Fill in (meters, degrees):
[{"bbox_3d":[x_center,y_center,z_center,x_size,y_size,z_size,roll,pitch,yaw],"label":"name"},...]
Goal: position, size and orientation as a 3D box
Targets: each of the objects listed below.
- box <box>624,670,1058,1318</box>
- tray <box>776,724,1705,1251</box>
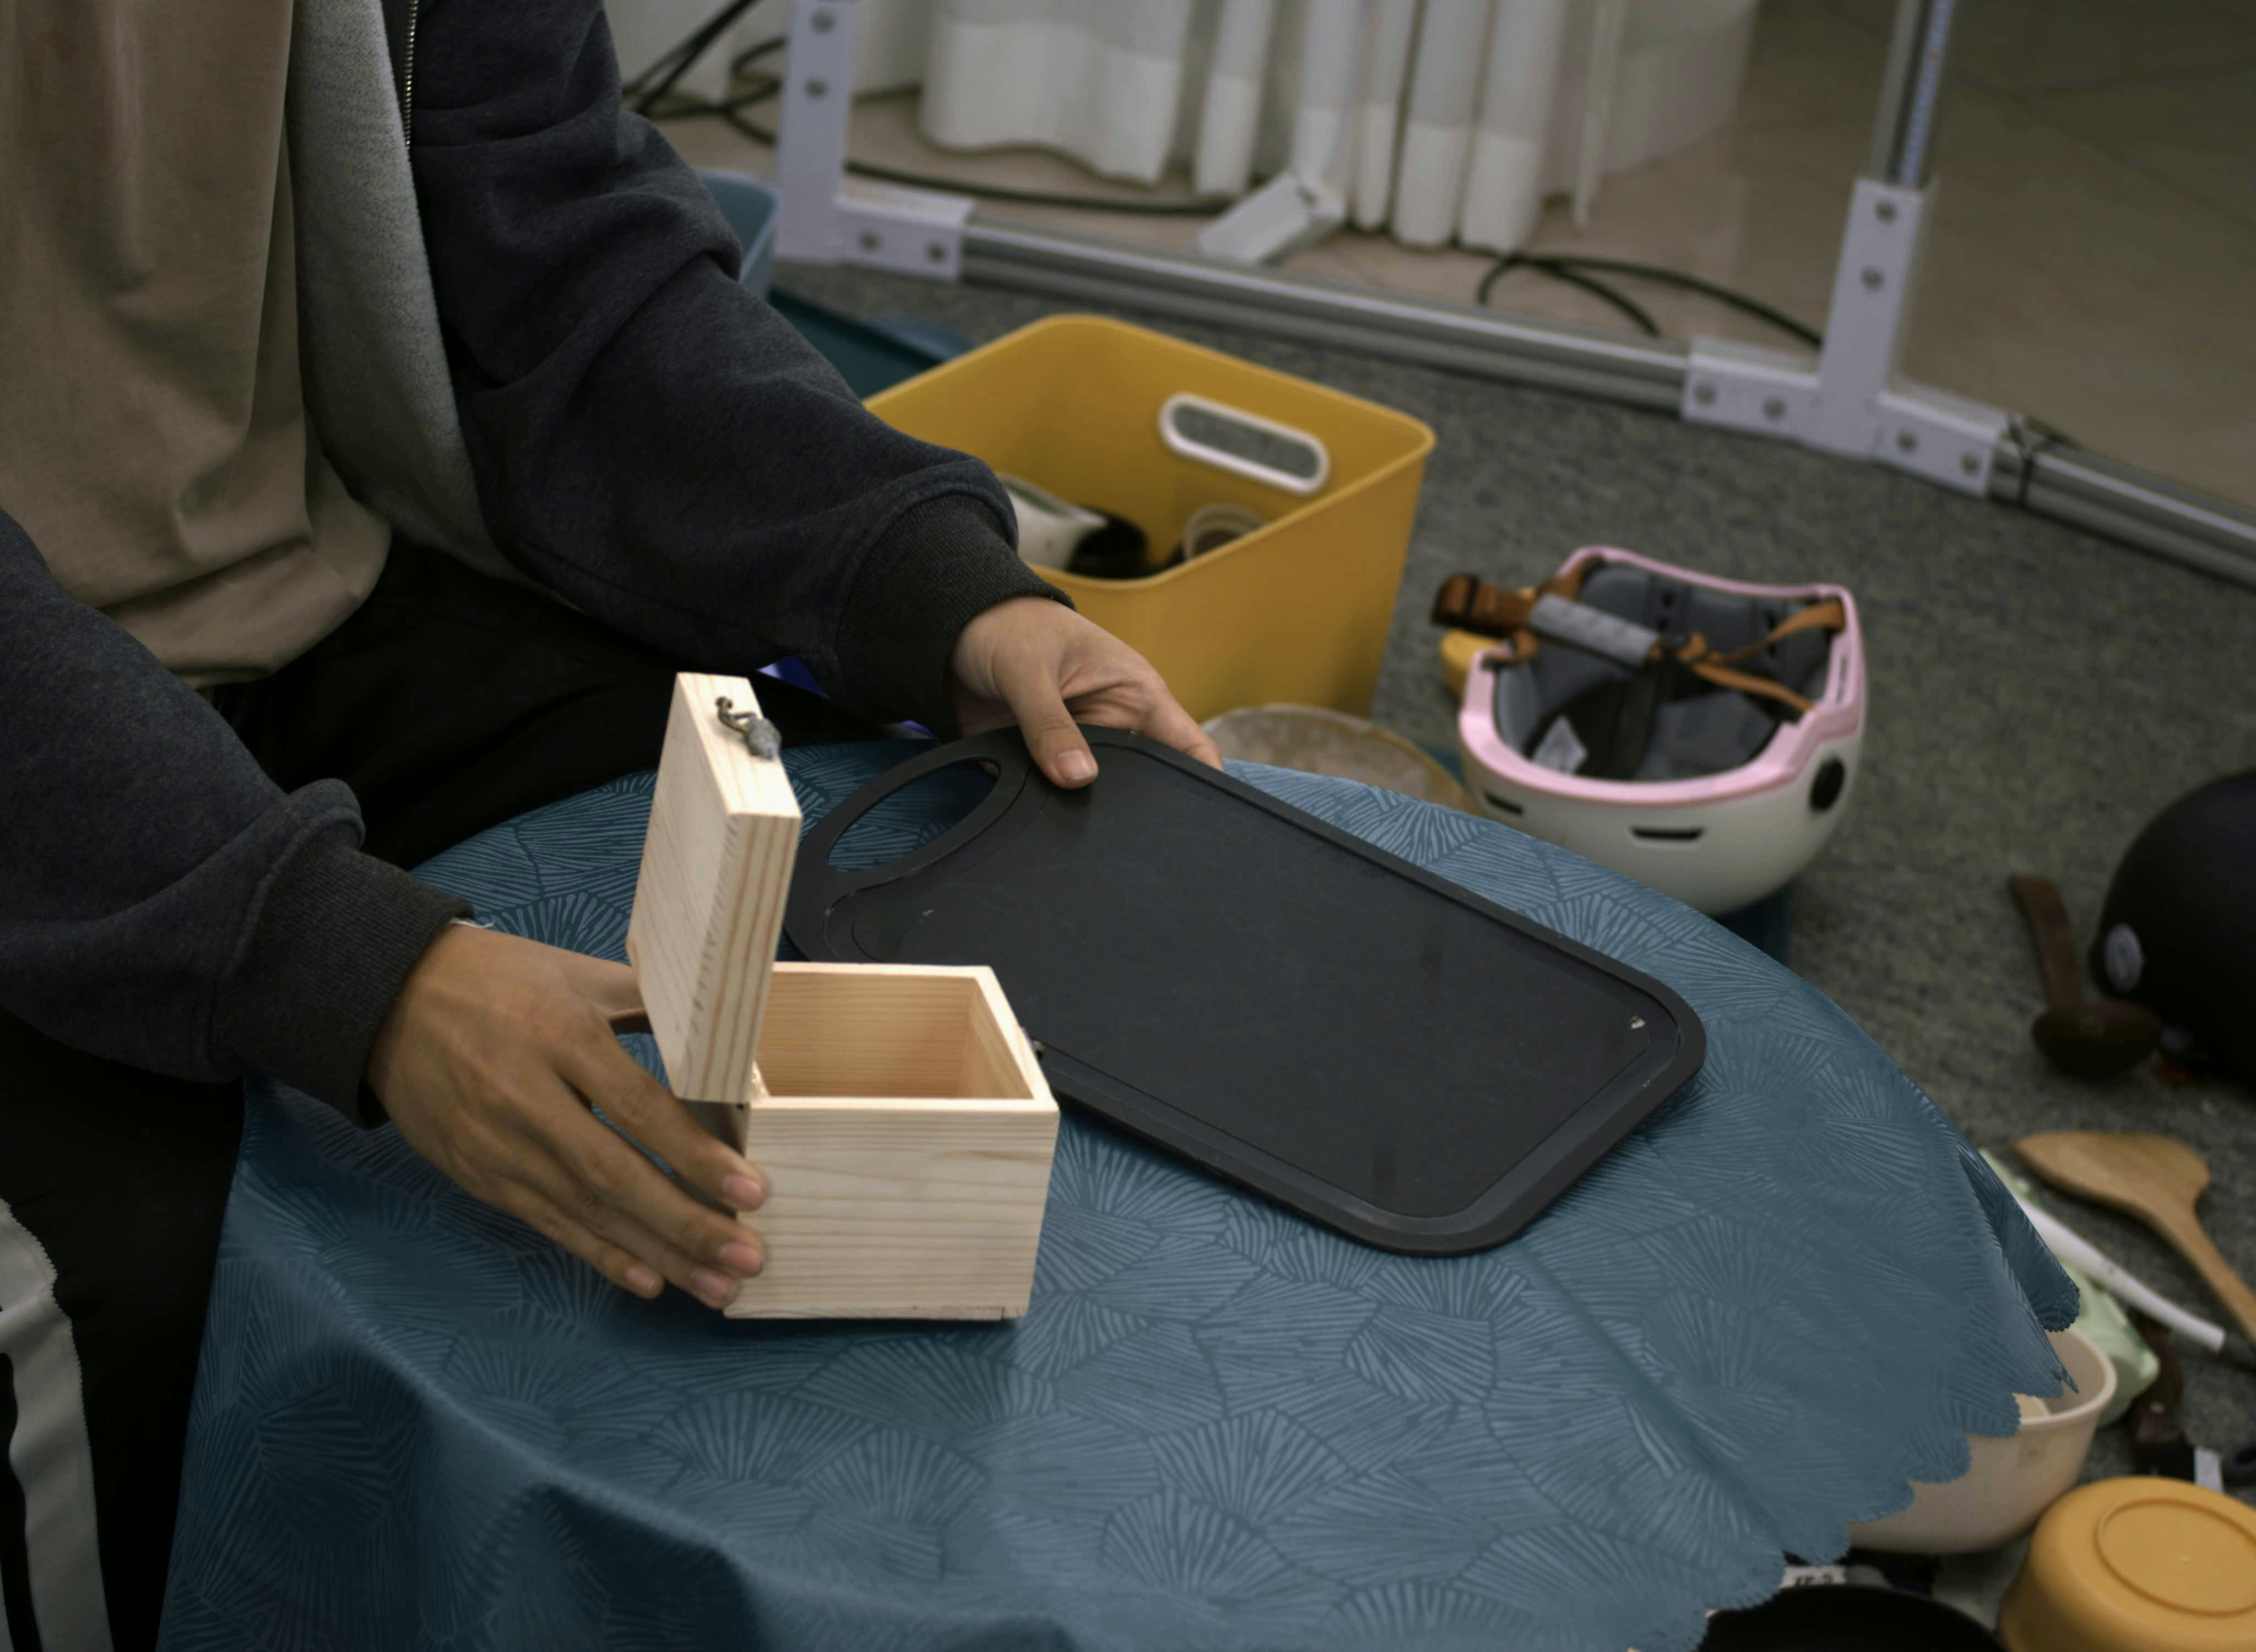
[{"bbox_3d":[-0.089,0.053,1.704,0.133,0.184,0.103,0,25,-16],"label":"box"},{"bbox_3d":[0.033,0.049,1.912,0.327,0.010,0.210,26,37,25],"label":"tray"}]
